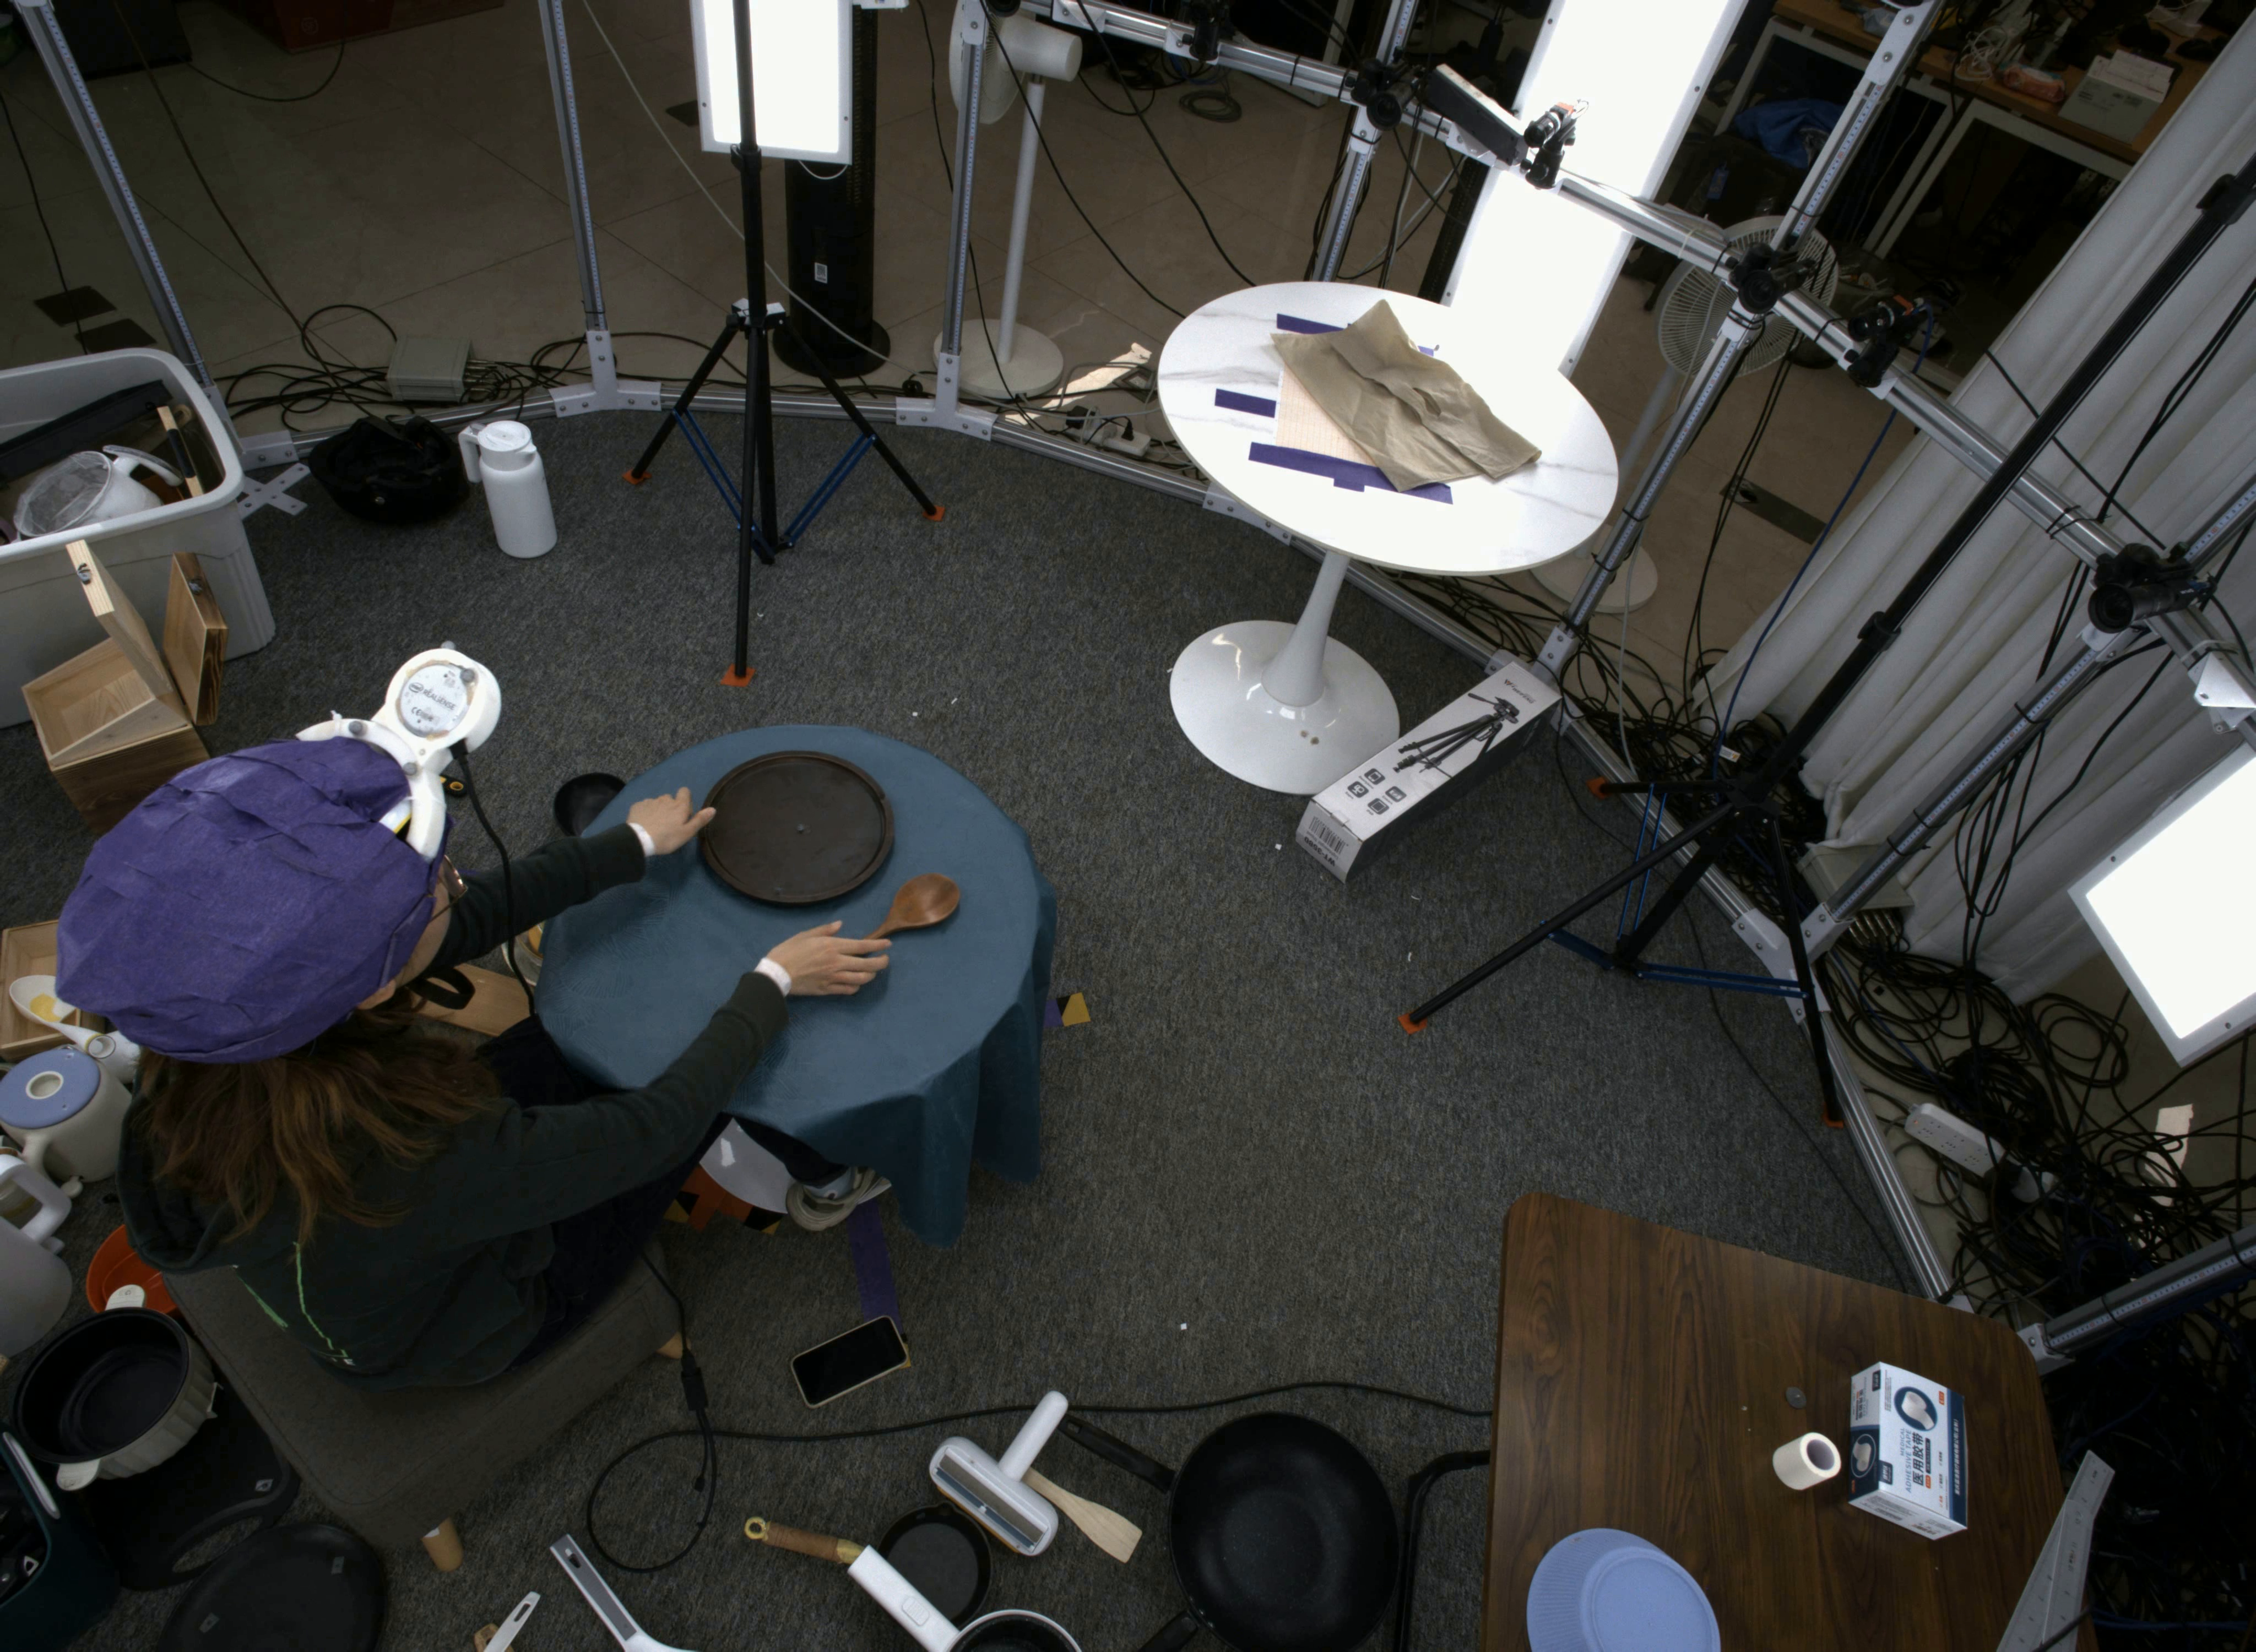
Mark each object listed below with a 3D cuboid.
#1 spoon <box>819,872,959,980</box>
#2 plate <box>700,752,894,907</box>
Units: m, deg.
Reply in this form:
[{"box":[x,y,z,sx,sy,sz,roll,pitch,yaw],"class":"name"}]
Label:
[{"box":[-0.305,0.127,1.654,0.074,0.017,0.216,41,55,17],"class":"spoon"},{"box":[-0.436,0.001,1.711,0.254,0.029,0.250,8,51,-8],"class":"plate"}]
